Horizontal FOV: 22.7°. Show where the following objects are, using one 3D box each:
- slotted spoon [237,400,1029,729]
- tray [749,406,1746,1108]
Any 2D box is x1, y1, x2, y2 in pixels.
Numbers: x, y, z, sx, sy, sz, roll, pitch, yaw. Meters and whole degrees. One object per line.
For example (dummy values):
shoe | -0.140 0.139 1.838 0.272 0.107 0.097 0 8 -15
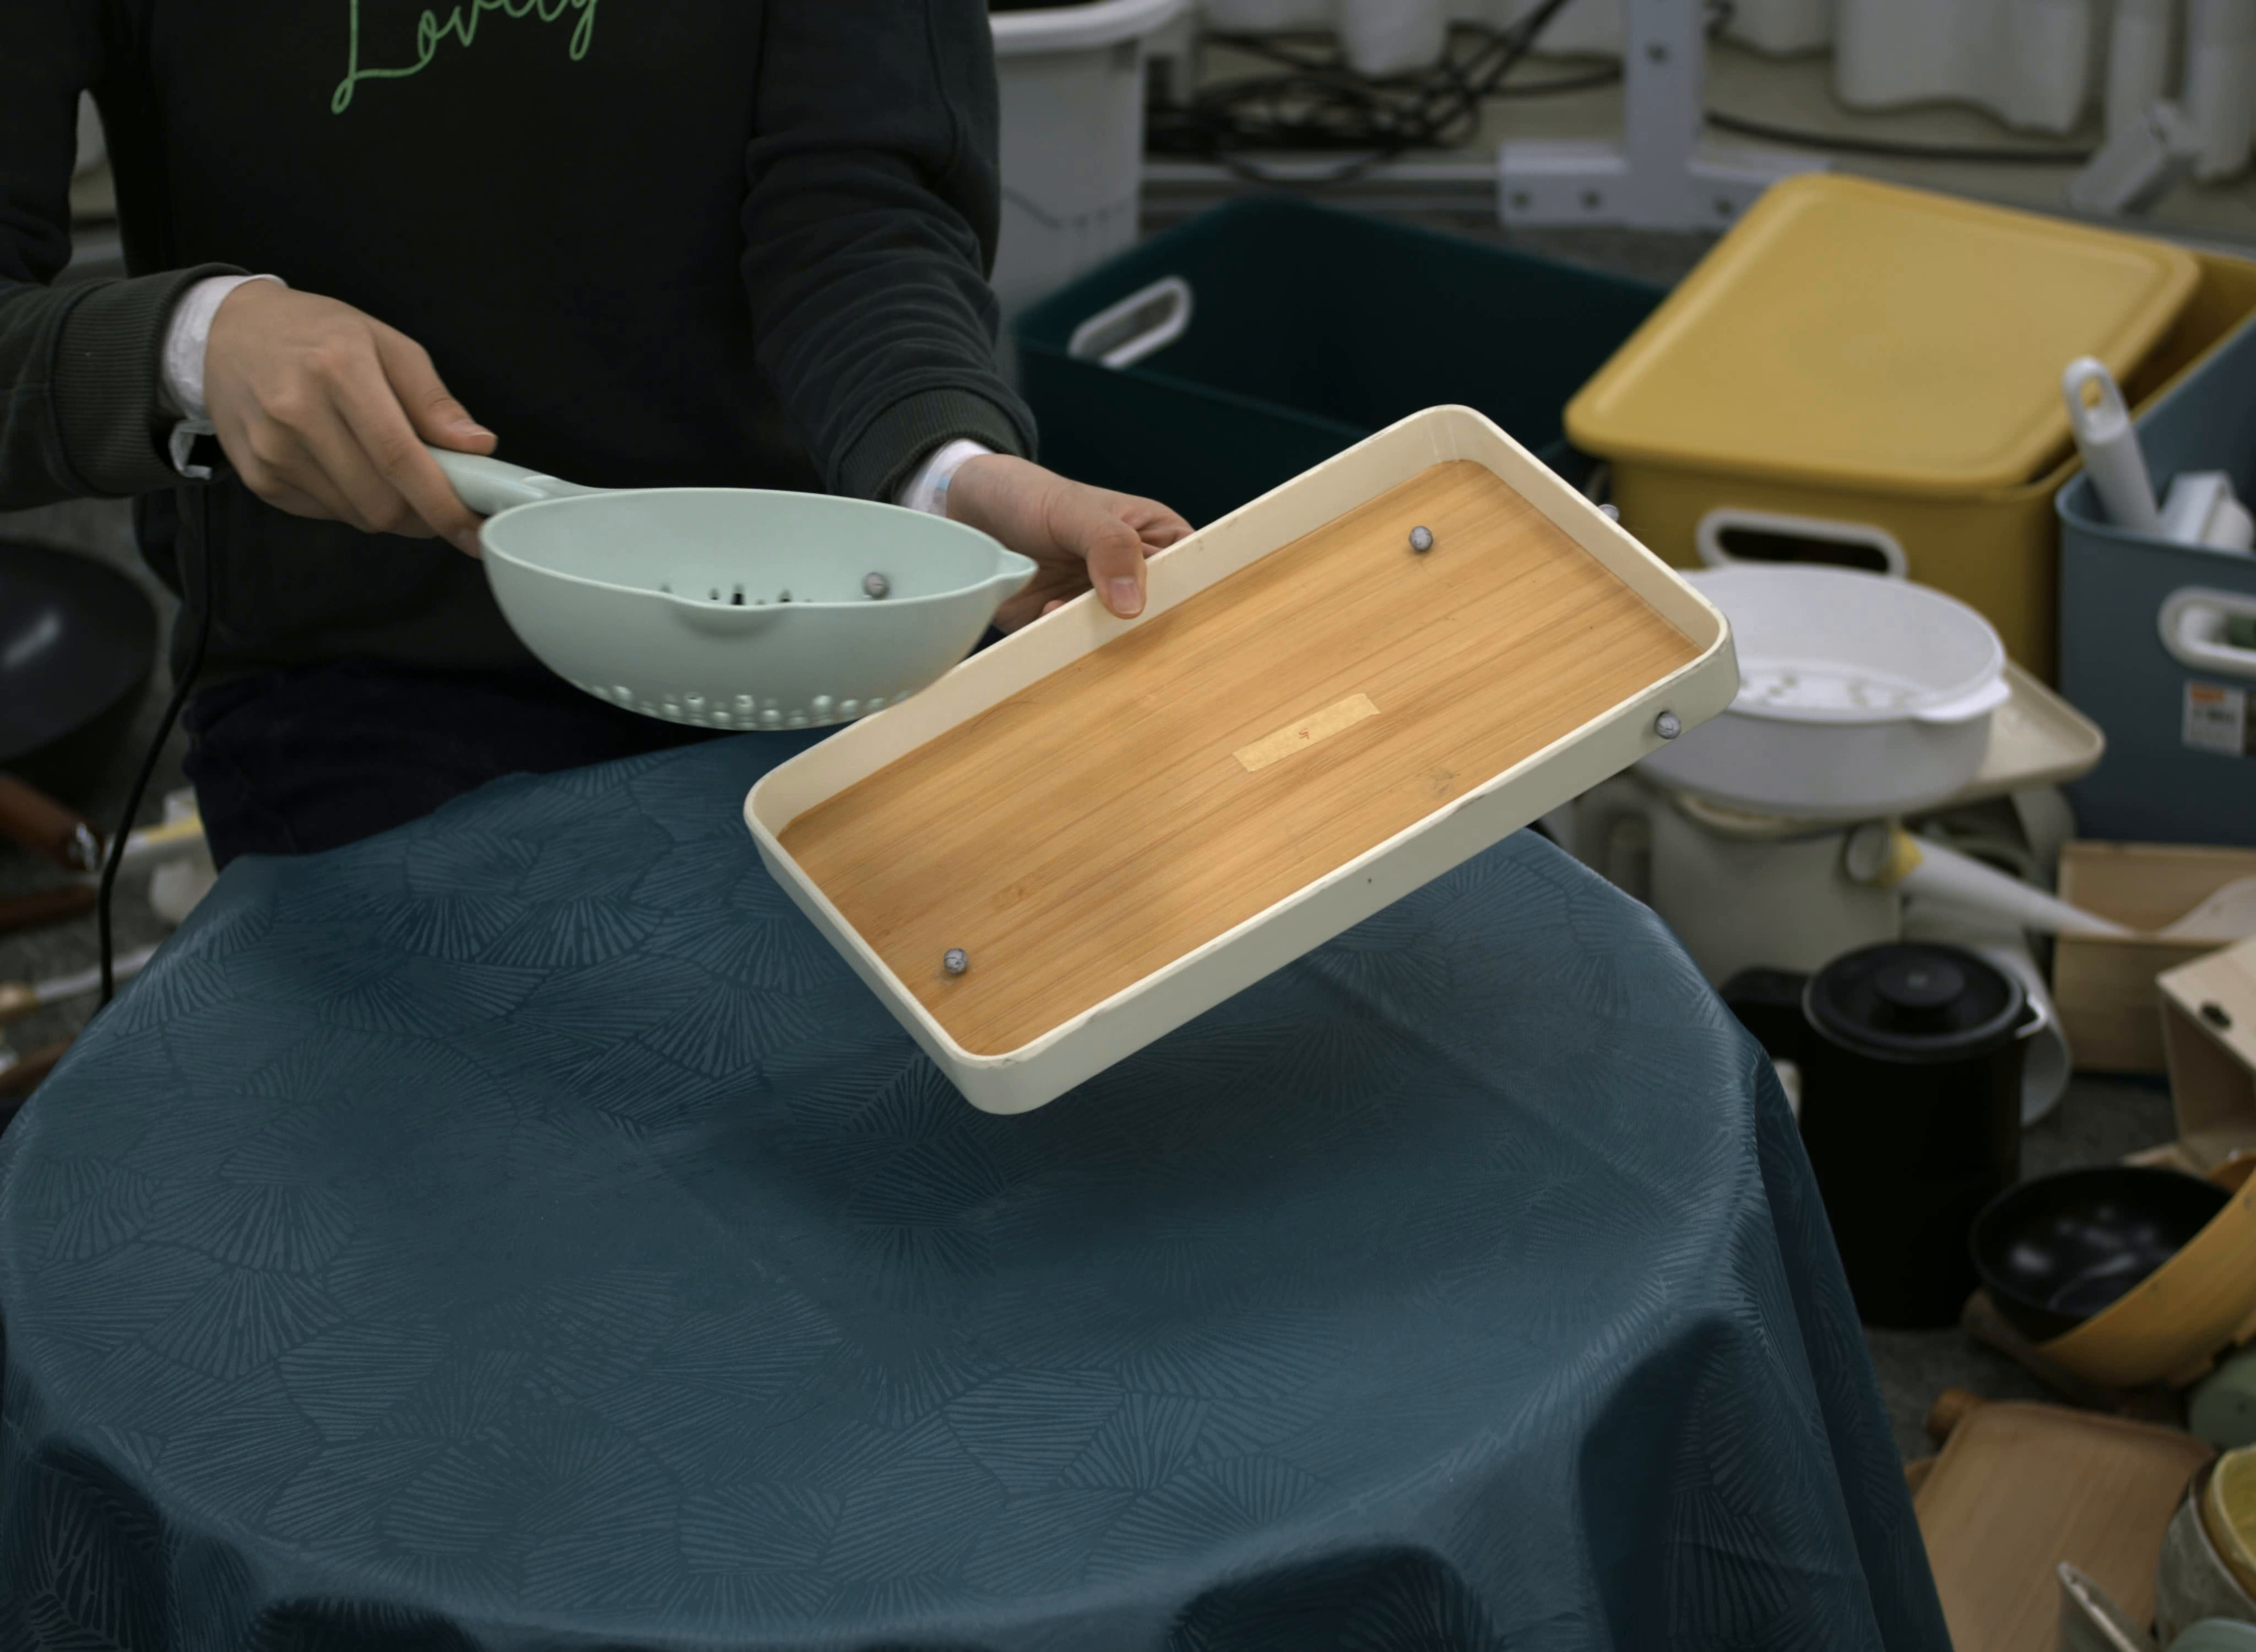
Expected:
slotted spoon | -0.190 -0.101 1.869 0.170 0.075 0.359 -7 26 -42
tray | 0.038 -0.028 1.885 0.302 0.027 0.193 -29 40 -15
